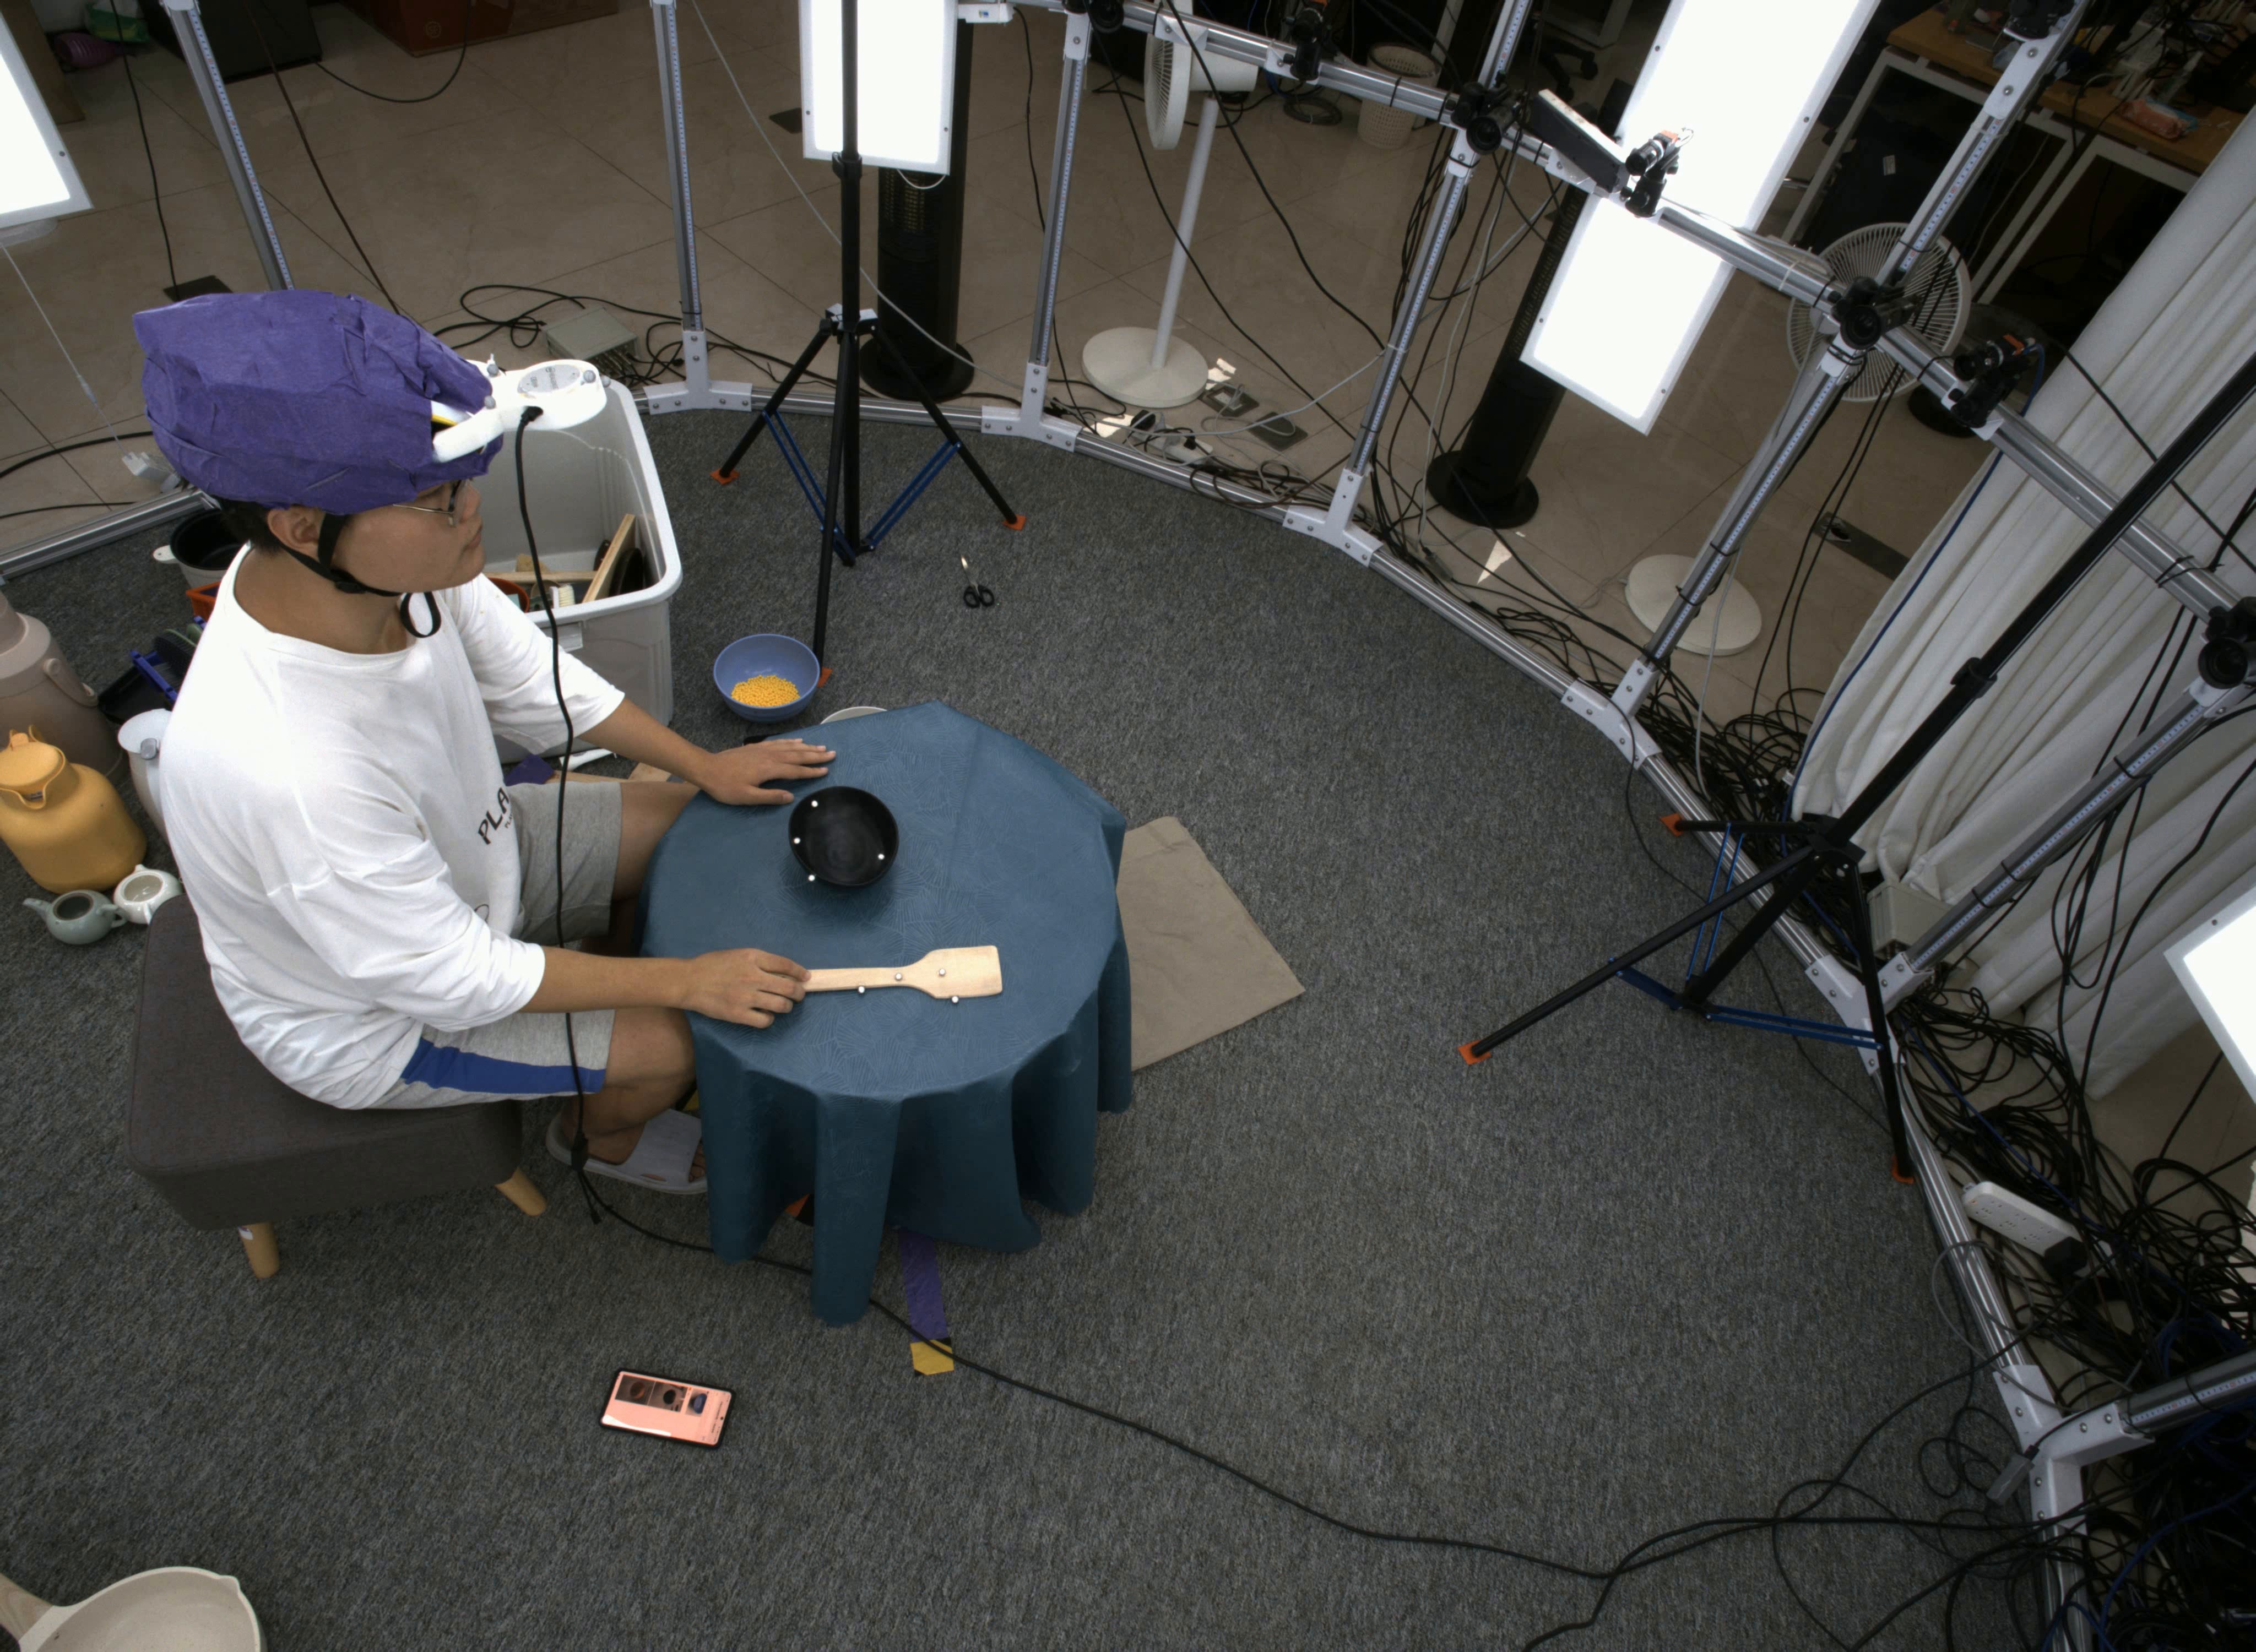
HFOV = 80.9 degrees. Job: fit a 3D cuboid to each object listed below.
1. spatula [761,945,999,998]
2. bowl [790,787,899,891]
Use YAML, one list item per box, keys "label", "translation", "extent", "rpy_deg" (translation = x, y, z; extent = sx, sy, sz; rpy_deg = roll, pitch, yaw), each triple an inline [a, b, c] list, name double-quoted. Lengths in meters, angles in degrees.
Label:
- label: "spatula"
  translation: [-0.307, 0.186, 1.616]
  extent: [0.294, 0.011, 0.070]
  rpy_deg: [-2, 55, -17]
- label: "bowl"
  translation: [-0.368, 0.024, 1.689]
  extent: [0.138, 0.068, 0.166]
  rpy_deg: [-14, 56, -21]
